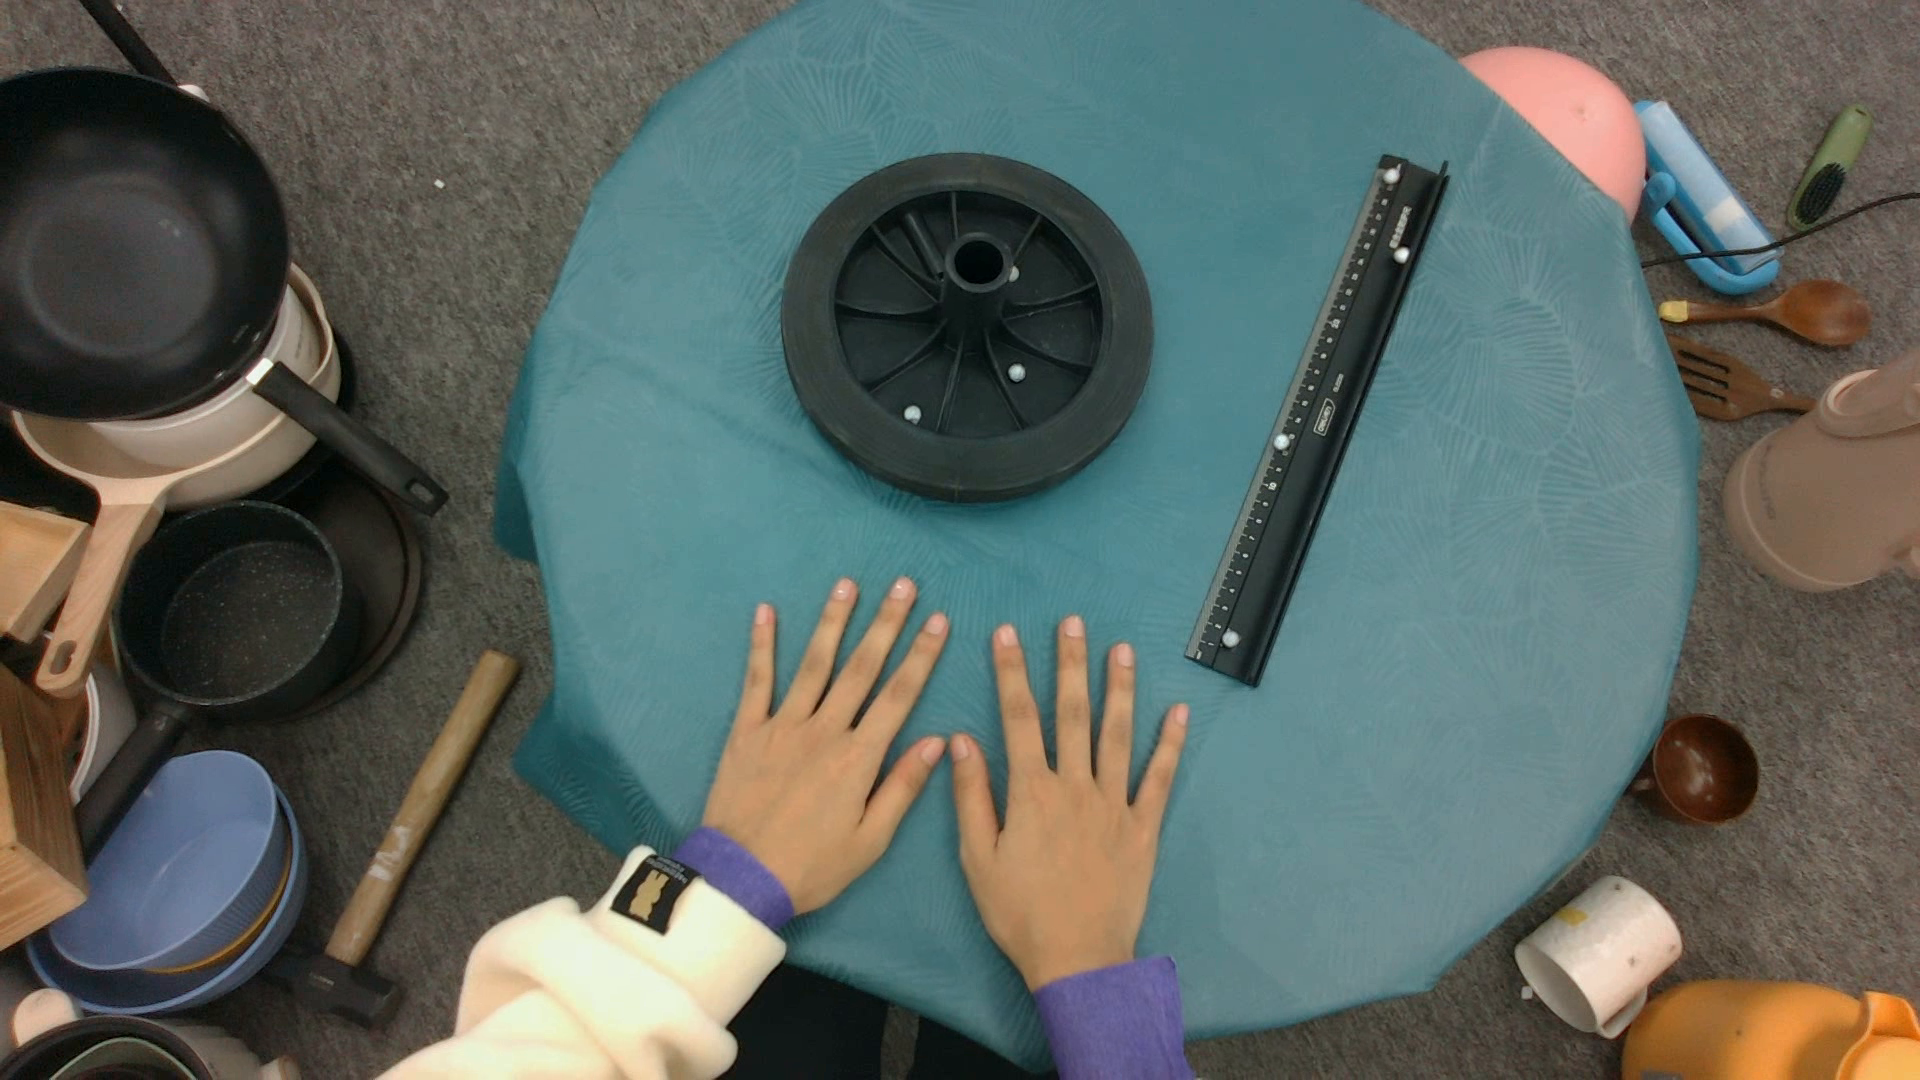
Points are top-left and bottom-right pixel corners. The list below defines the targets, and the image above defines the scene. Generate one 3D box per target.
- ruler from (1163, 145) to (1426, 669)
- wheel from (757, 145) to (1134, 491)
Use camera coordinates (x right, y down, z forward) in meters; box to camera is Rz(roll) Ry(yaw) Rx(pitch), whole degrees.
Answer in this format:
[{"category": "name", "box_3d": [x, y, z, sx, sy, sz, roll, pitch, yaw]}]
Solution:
[{"category": "ruler", "box_3d": [0.178, -0.081, 0.710, 0.039, 0.017, 0.313, 23, 72, 6]}, {"category": "wheel", "box_3d": [-0.005, -0.122, 0.674, 0.190, 0.079, 0.188, 39, 73, 8]}]
